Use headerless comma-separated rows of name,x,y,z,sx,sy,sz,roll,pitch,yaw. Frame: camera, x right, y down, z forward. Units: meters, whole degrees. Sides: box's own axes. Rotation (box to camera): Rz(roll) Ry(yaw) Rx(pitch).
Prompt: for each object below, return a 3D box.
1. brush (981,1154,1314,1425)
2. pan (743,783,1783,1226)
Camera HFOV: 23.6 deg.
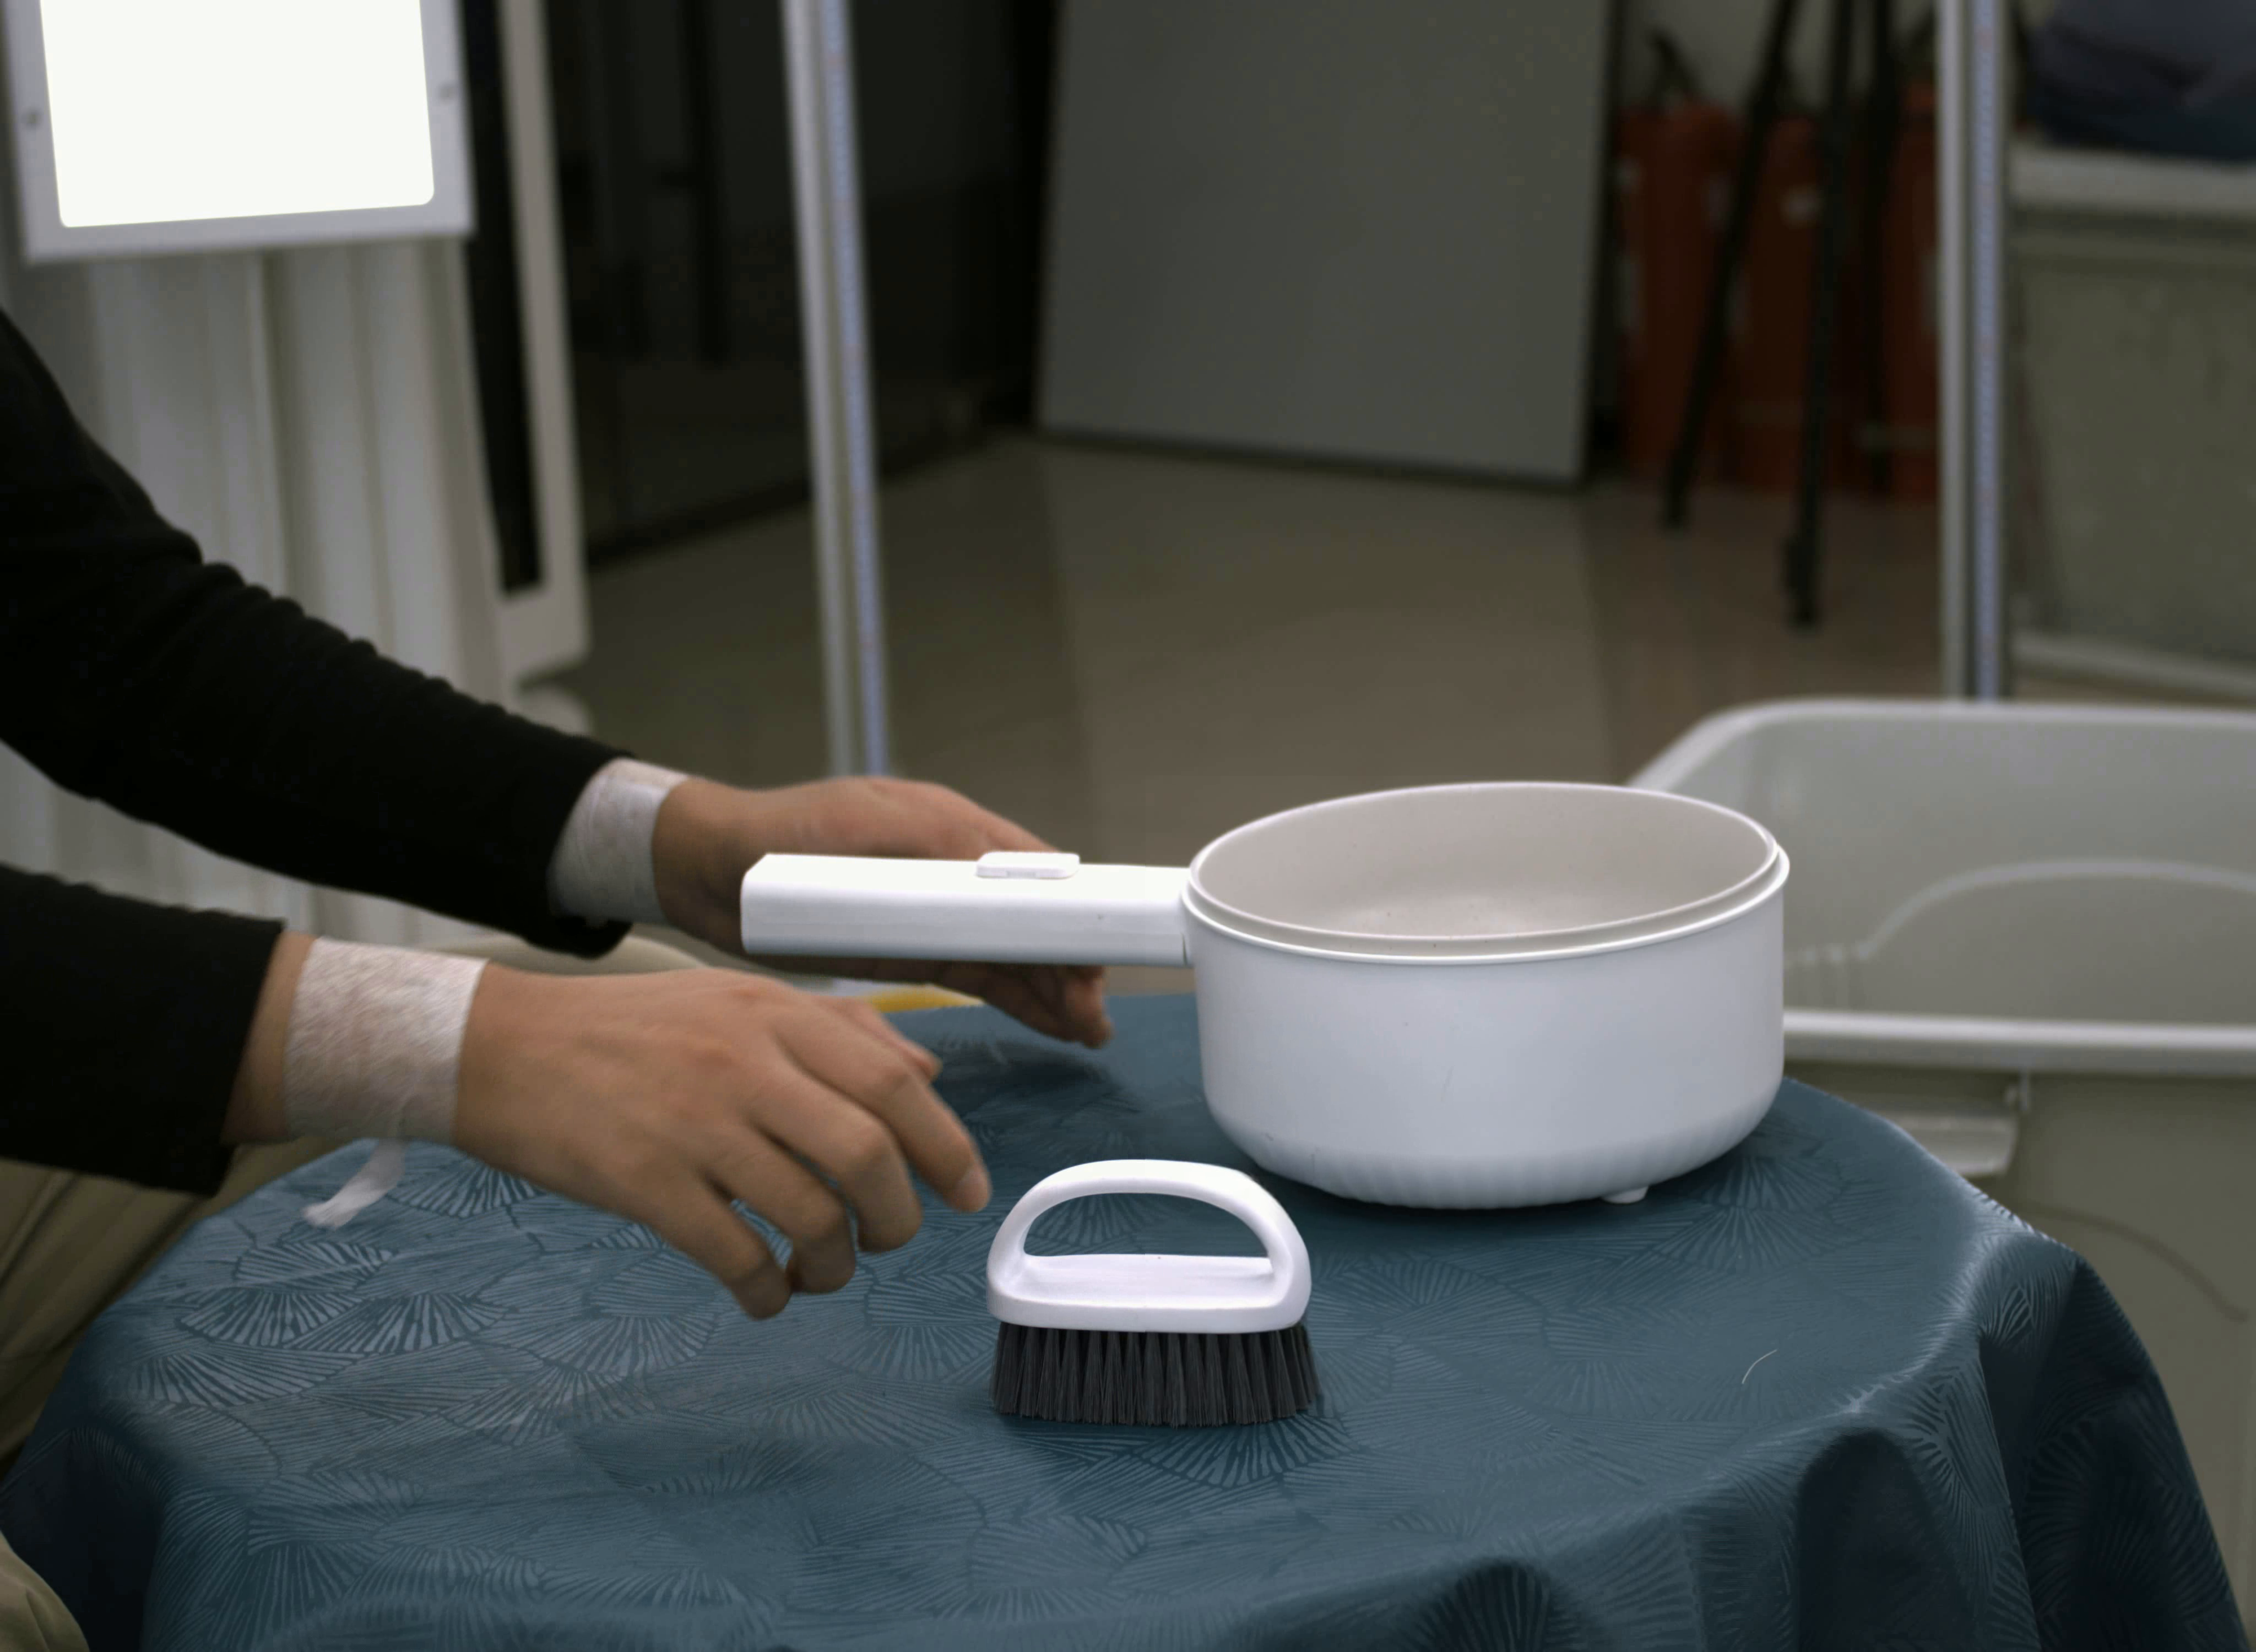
brush,0.005,0.132,1.570,0.099,0.073,0.050,0,14,17
pan,0.045,0.062,1.800,0.353,0.103,0.200,-1,16,16
